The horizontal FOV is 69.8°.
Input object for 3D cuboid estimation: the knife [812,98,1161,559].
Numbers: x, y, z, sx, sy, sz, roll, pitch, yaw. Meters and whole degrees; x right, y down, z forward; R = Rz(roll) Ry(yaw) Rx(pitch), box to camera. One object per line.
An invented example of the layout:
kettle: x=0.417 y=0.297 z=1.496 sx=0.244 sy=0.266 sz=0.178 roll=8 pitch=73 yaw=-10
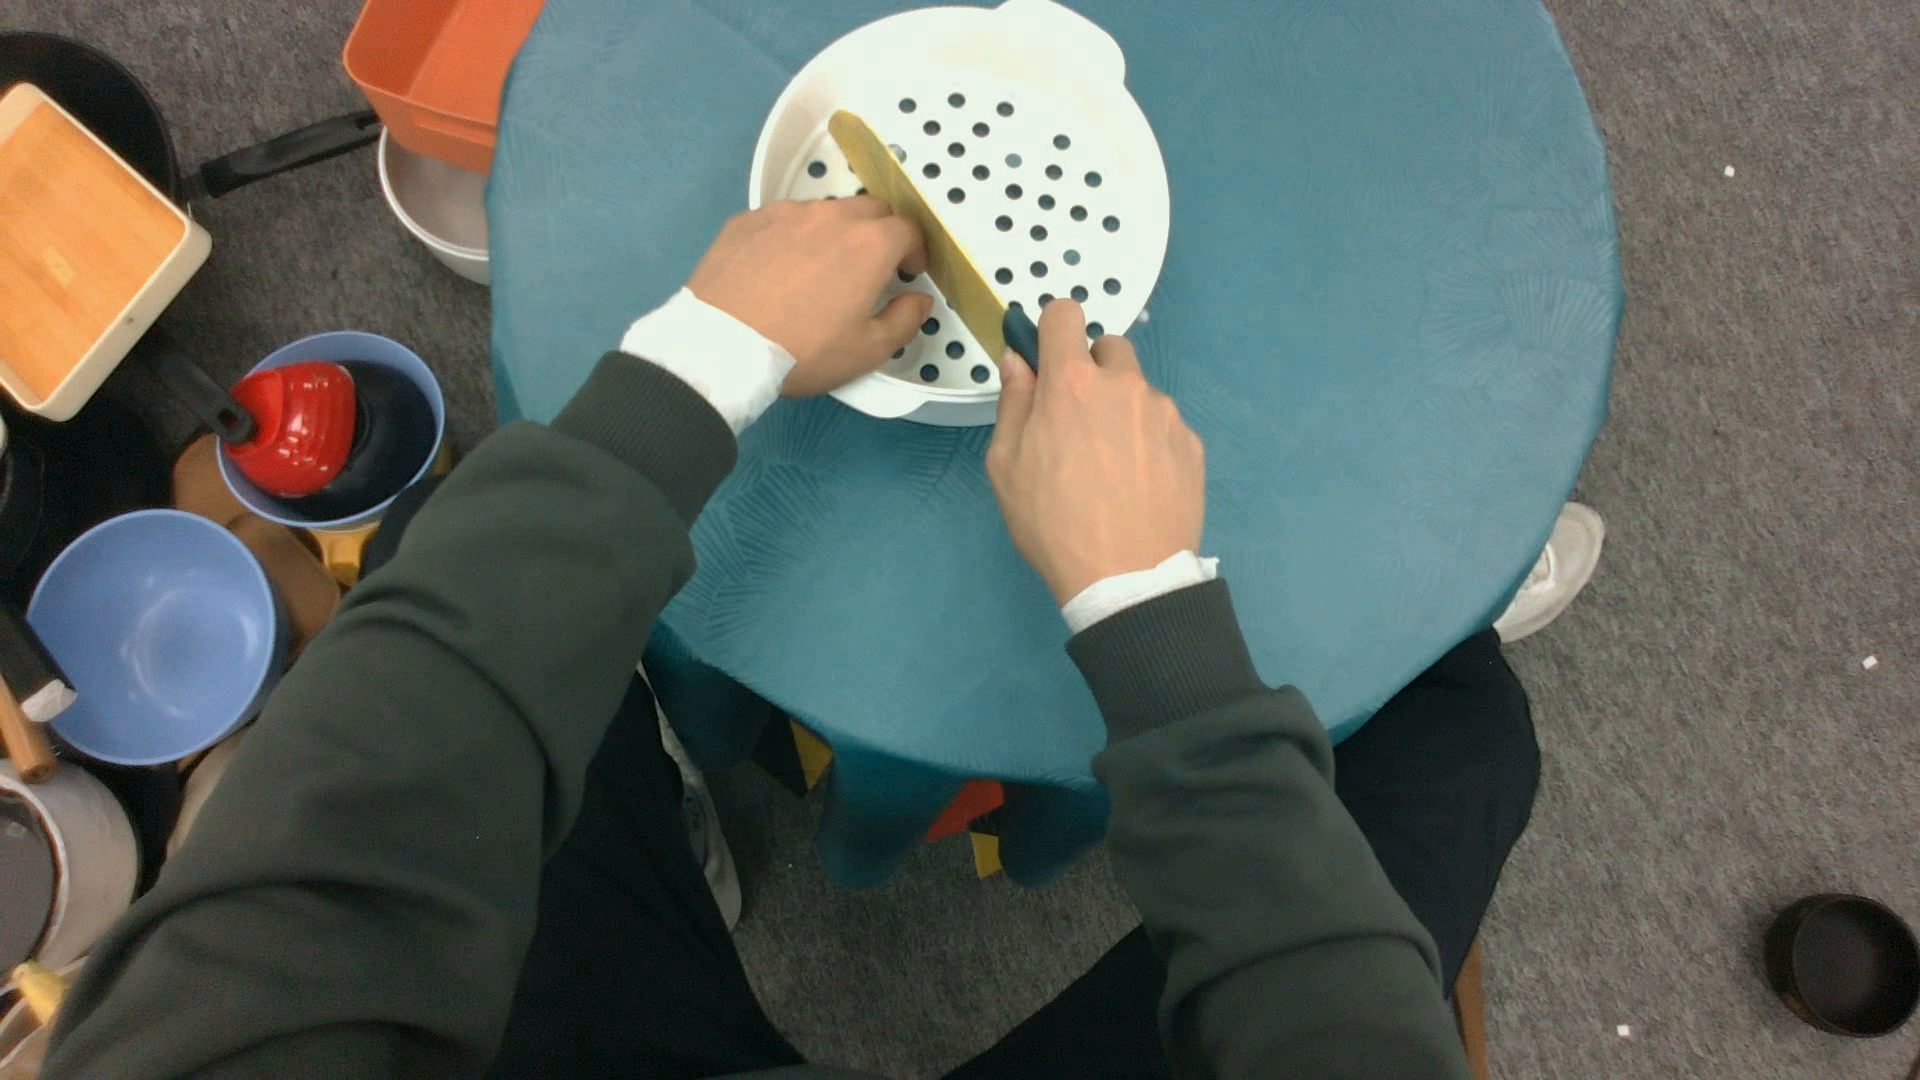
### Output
knife: x=0.004 y=-0.106 z=0.657 sx=0.027 sy=0.081 sz=0.290 roll=-33 pitch=74 yaw=-7

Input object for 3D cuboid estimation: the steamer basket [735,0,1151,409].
steamer basket: x=-0.009 y=-0.165 z=0.692 sx=0.202 sy=0.069 sz=0.231 roll=30 pitch=78 yaw=3
